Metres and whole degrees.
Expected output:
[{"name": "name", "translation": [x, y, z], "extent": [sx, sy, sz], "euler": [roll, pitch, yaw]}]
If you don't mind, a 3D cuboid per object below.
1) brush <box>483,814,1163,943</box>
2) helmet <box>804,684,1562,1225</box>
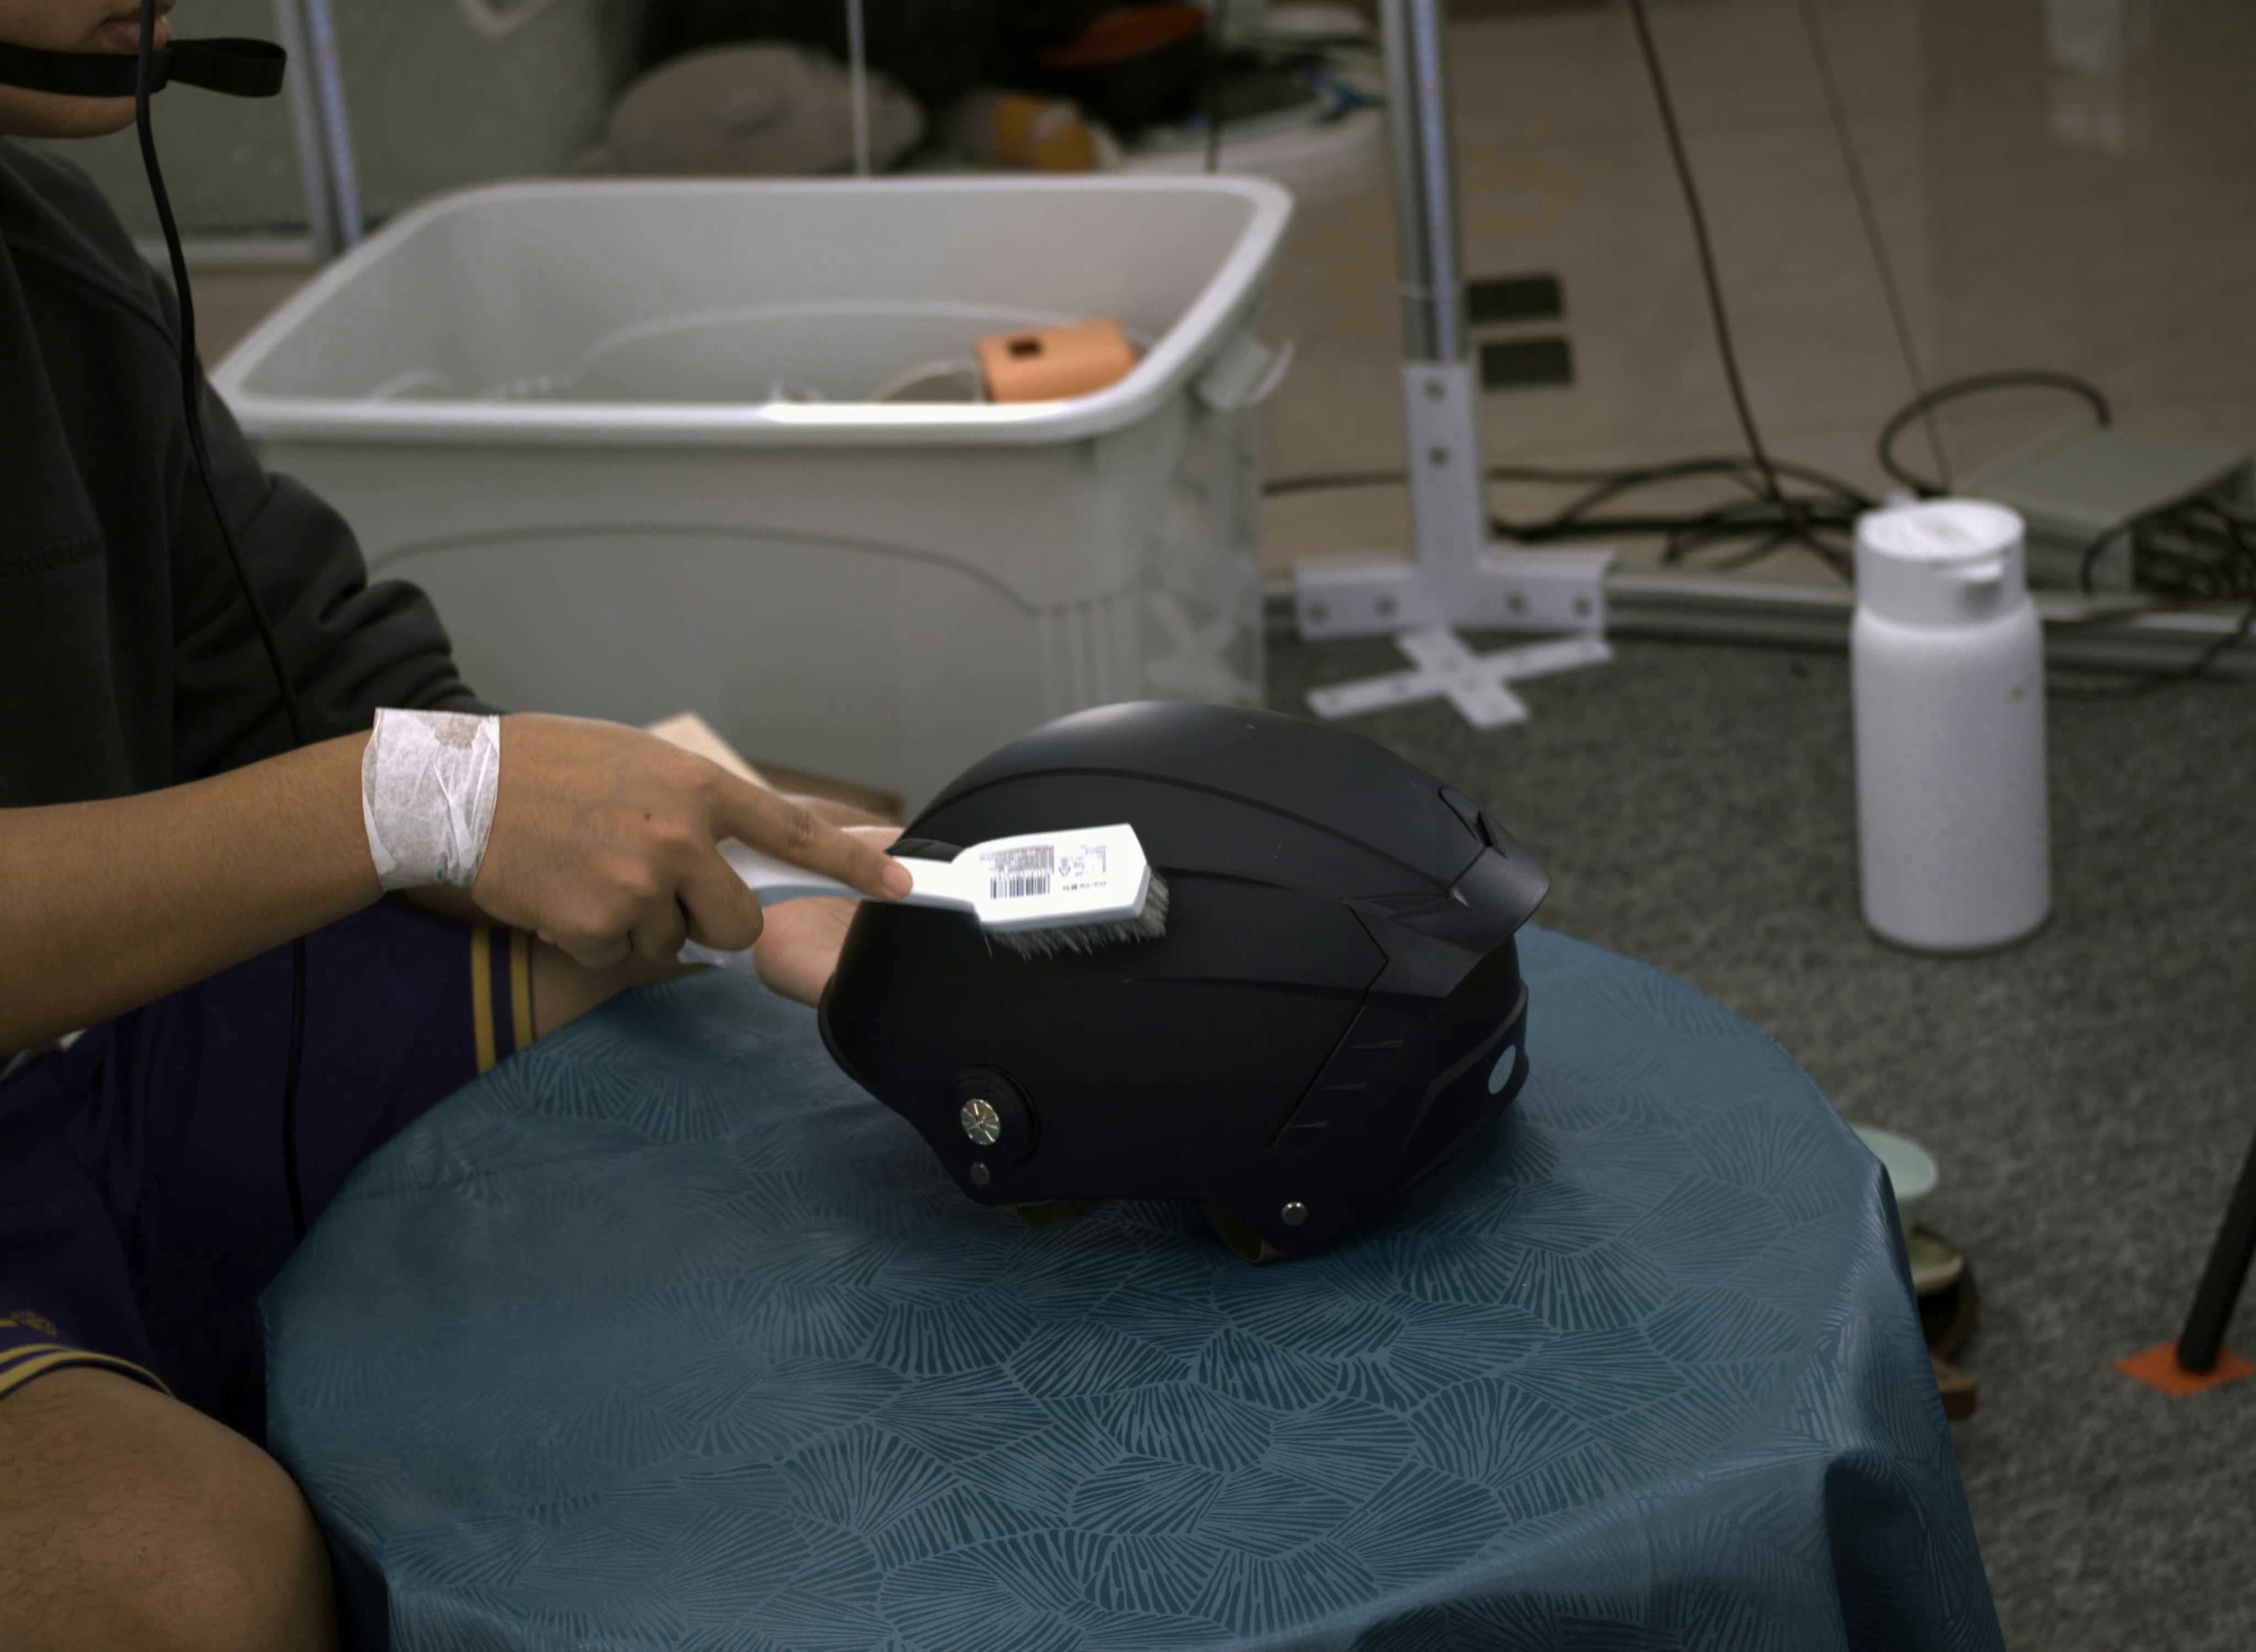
[{"name": "brush", "translation": [-0.108, 0.022, 2.027], "extent": [0.243, 0.051, 0.034], "euler": [-2, 67, -5]}, {"name": "helmet", "translation": [0.023, 0.036, 2.147], "extent": [0.275, 0.175, 0.244], "euler": [19, 32, 20]}]
